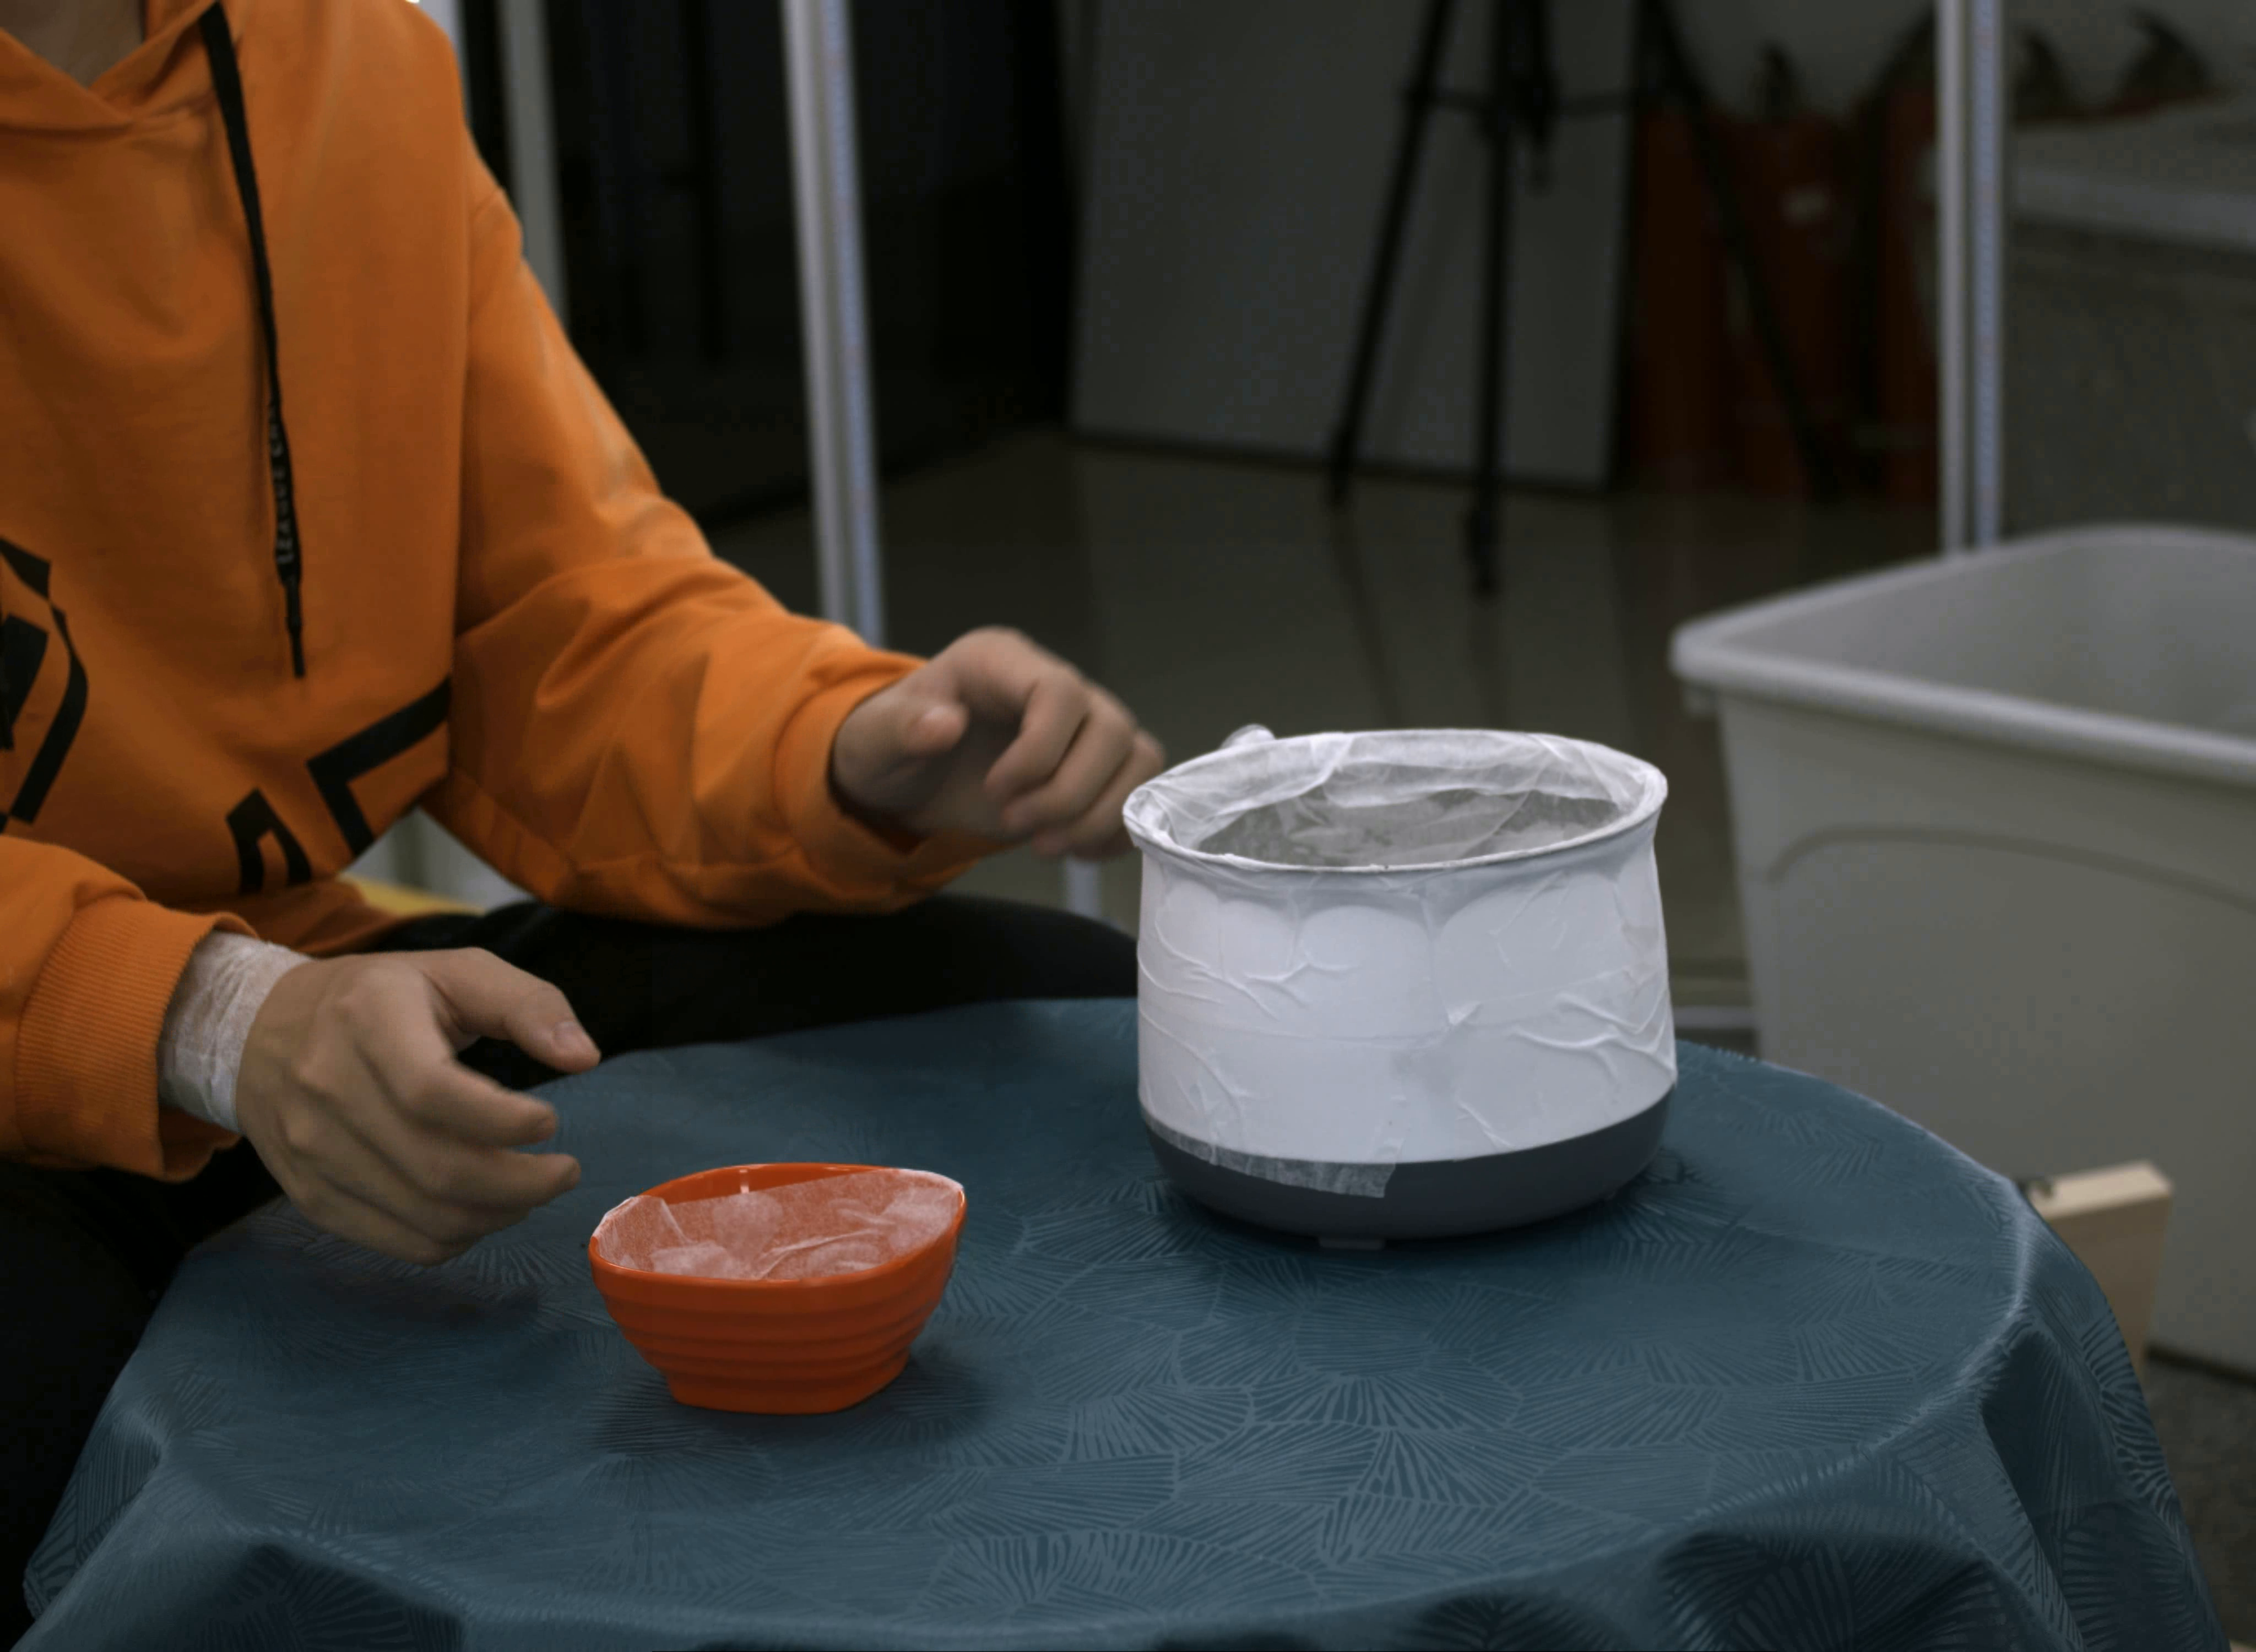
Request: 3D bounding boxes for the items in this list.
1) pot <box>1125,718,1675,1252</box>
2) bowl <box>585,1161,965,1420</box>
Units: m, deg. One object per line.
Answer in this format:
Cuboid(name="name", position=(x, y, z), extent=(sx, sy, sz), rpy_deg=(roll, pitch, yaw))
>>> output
Cuboid(name="pot", position=(0.076, 0.045, 1.768), extent=(0.175, 0.138, 0.236), rpy_deg=(-10, 15, -25))
Cuboid(name="bowl", position=(-0.103, 0.141, 1.614), extent=(0.117, 0.052, 0.119), rpy_deg=(-4, 15, 0))
